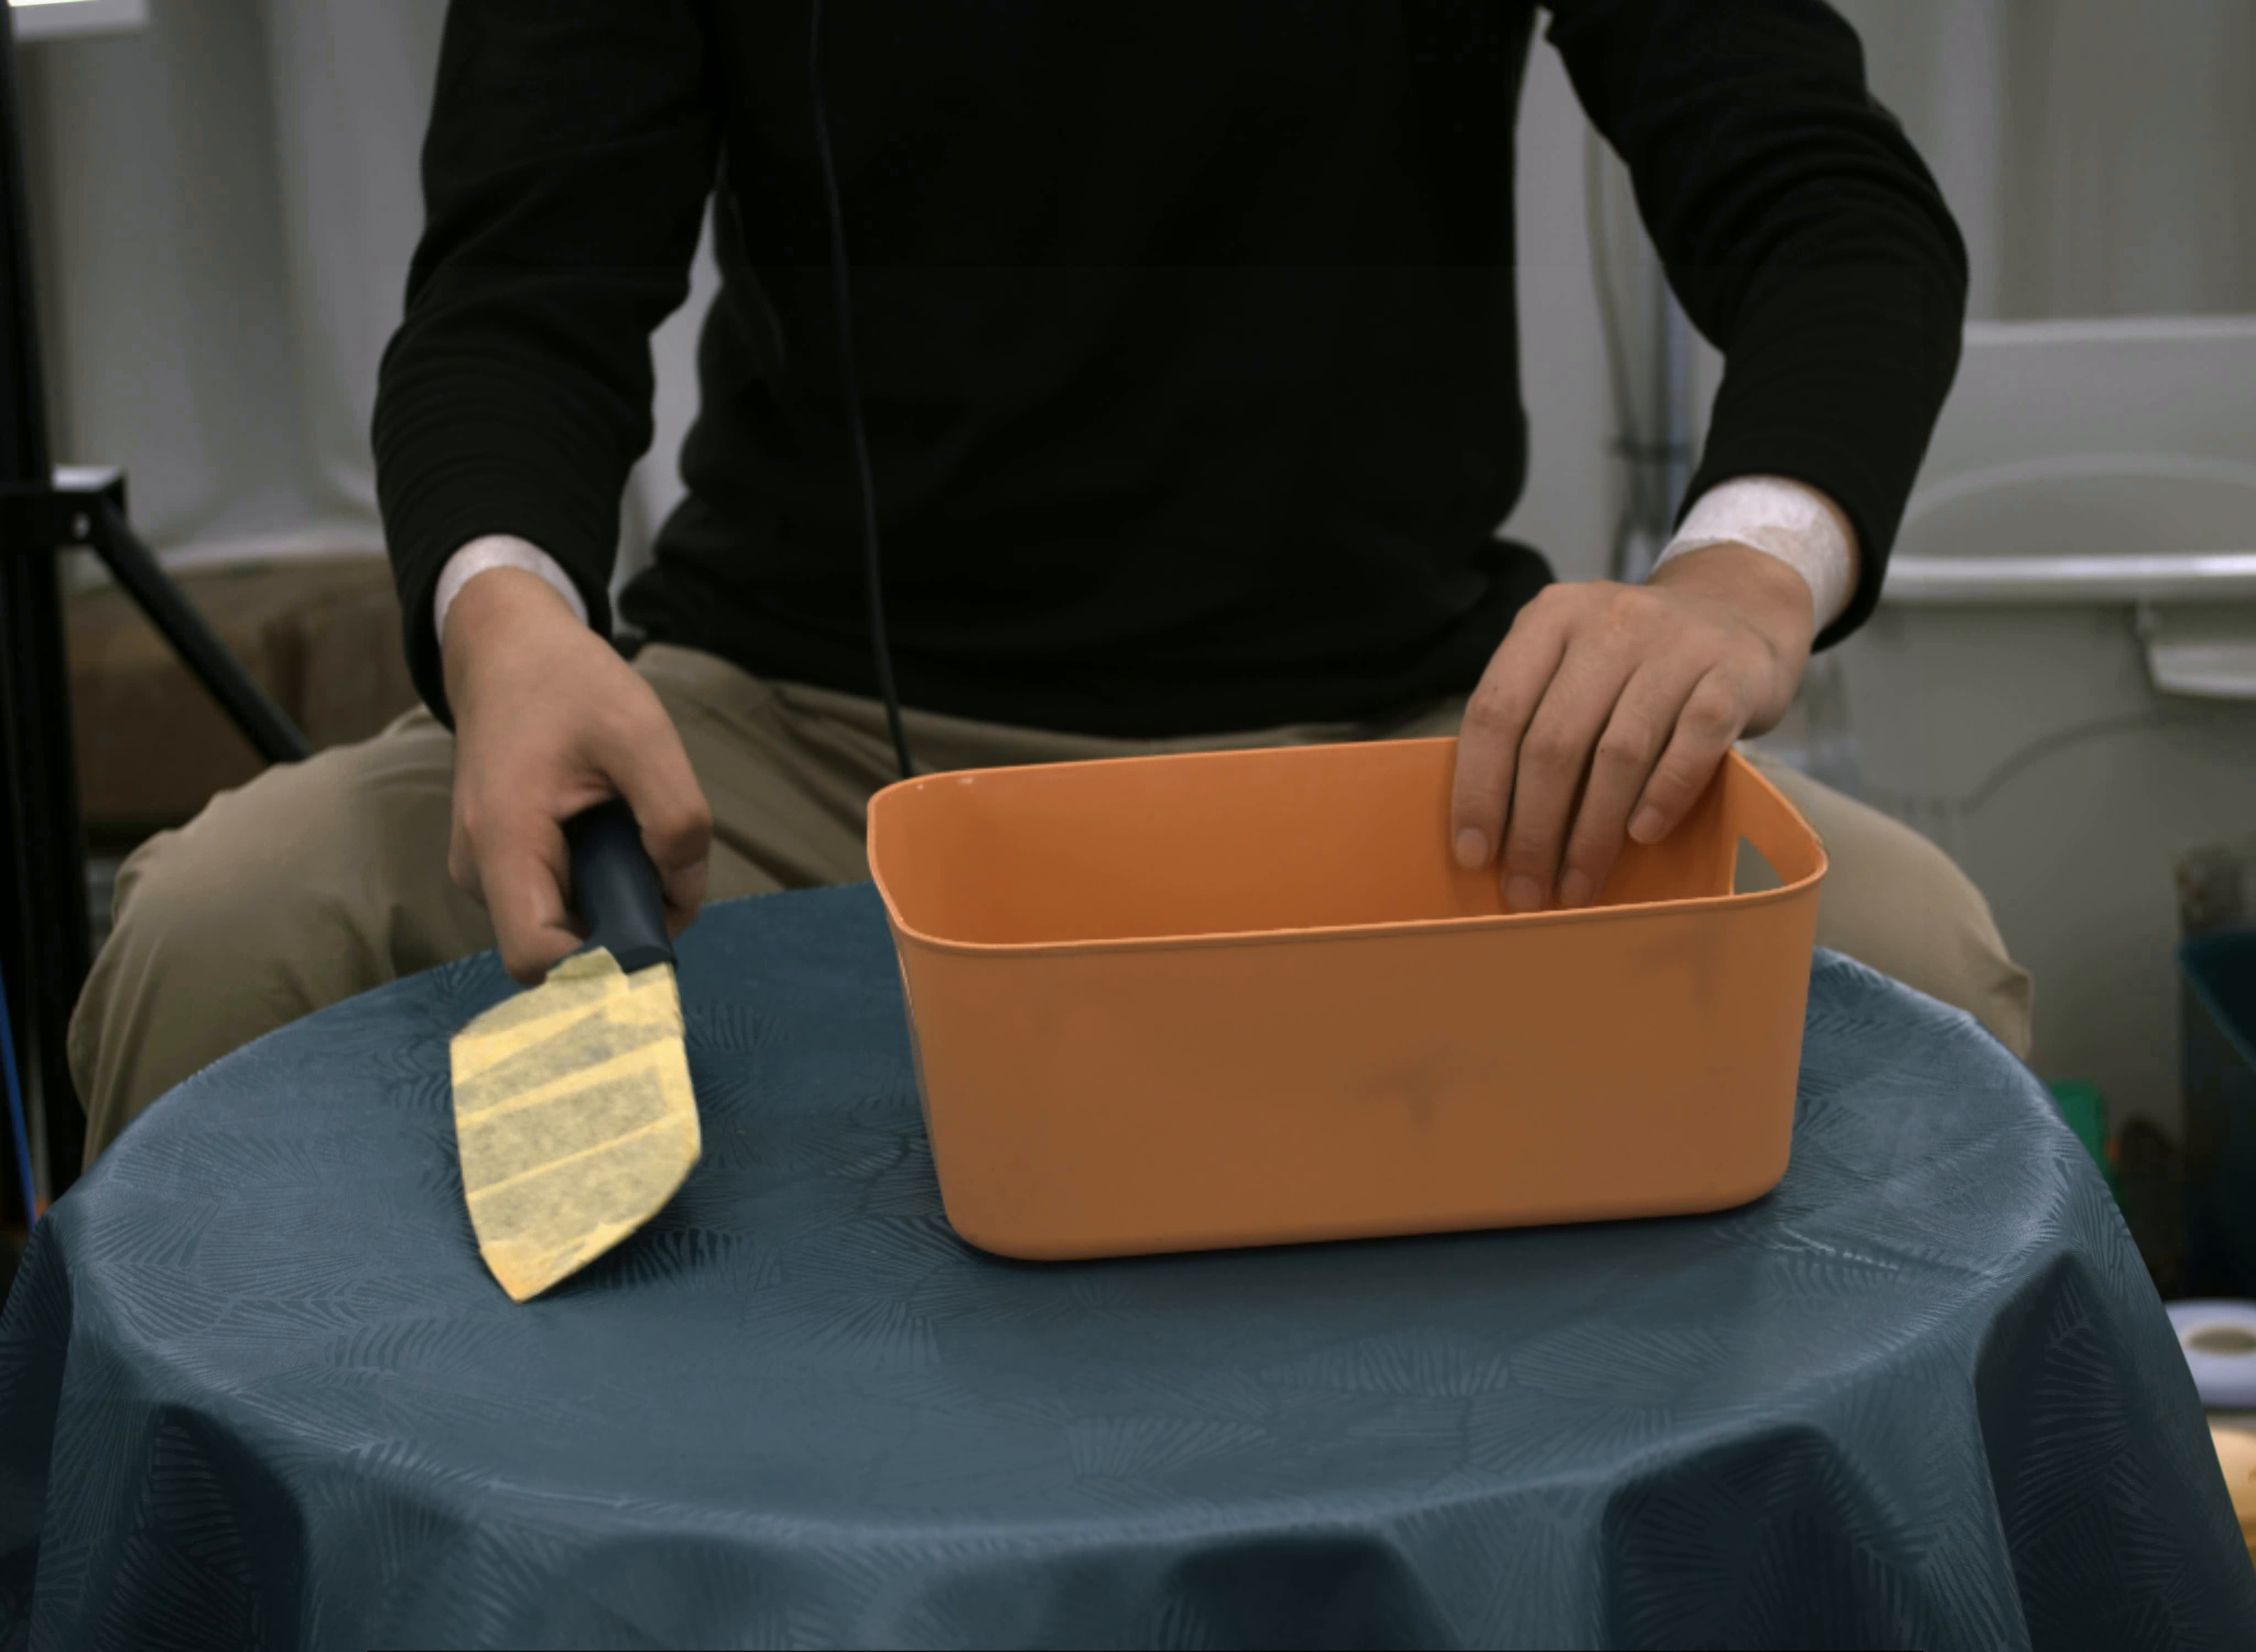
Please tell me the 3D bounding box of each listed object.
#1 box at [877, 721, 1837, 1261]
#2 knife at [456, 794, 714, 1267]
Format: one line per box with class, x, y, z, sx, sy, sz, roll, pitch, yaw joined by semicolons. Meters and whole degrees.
box;0.064;0.048;1.571;0.271;0.102;0.201;-4;16;-4
knife;-0.166;0.061;1.625;0.081;0.027;0.292;-15;26;2
